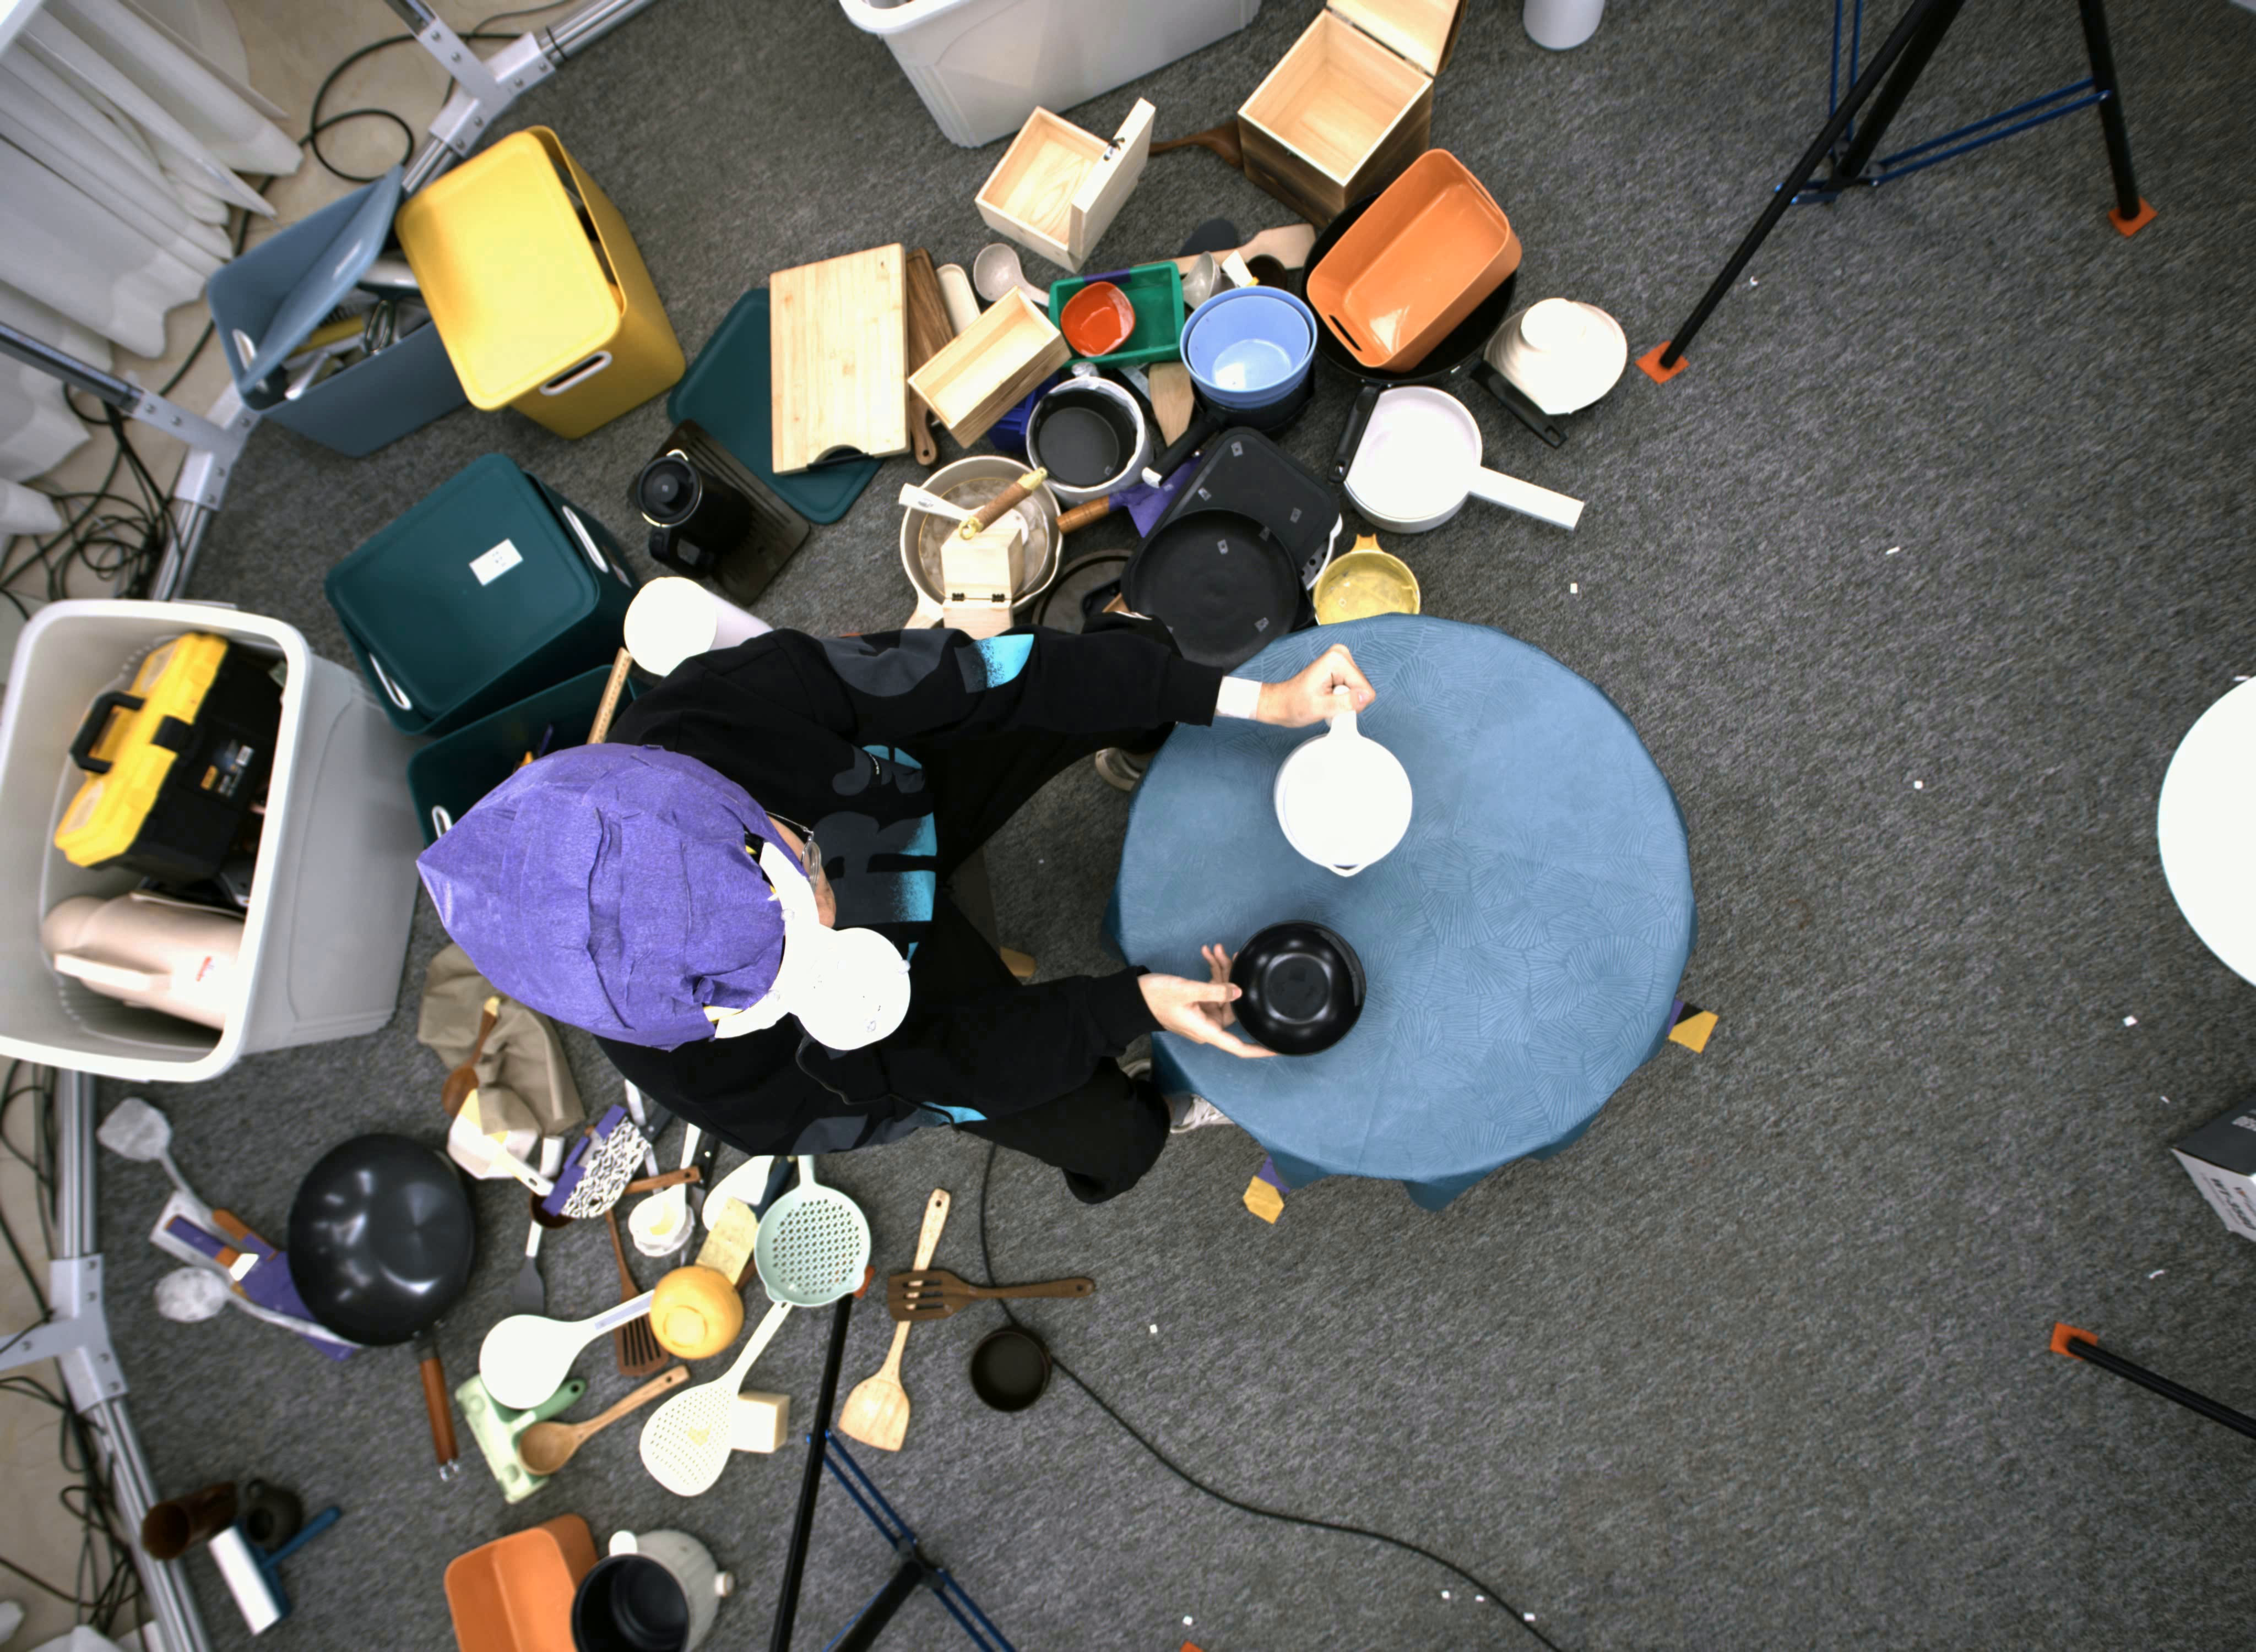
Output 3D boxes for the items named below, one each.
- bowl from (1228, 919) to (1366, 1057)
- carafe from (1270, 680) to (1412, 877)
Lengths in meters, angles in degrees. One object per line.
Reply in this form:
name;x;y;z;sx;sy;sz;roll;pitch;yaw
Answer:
bowl;0.173;0.165;1.420;0.140;0.050;0.139;-1;86;9
carafe;0.209;-0.052;1.372;0.132;0.181;0.191;-3;94;4
